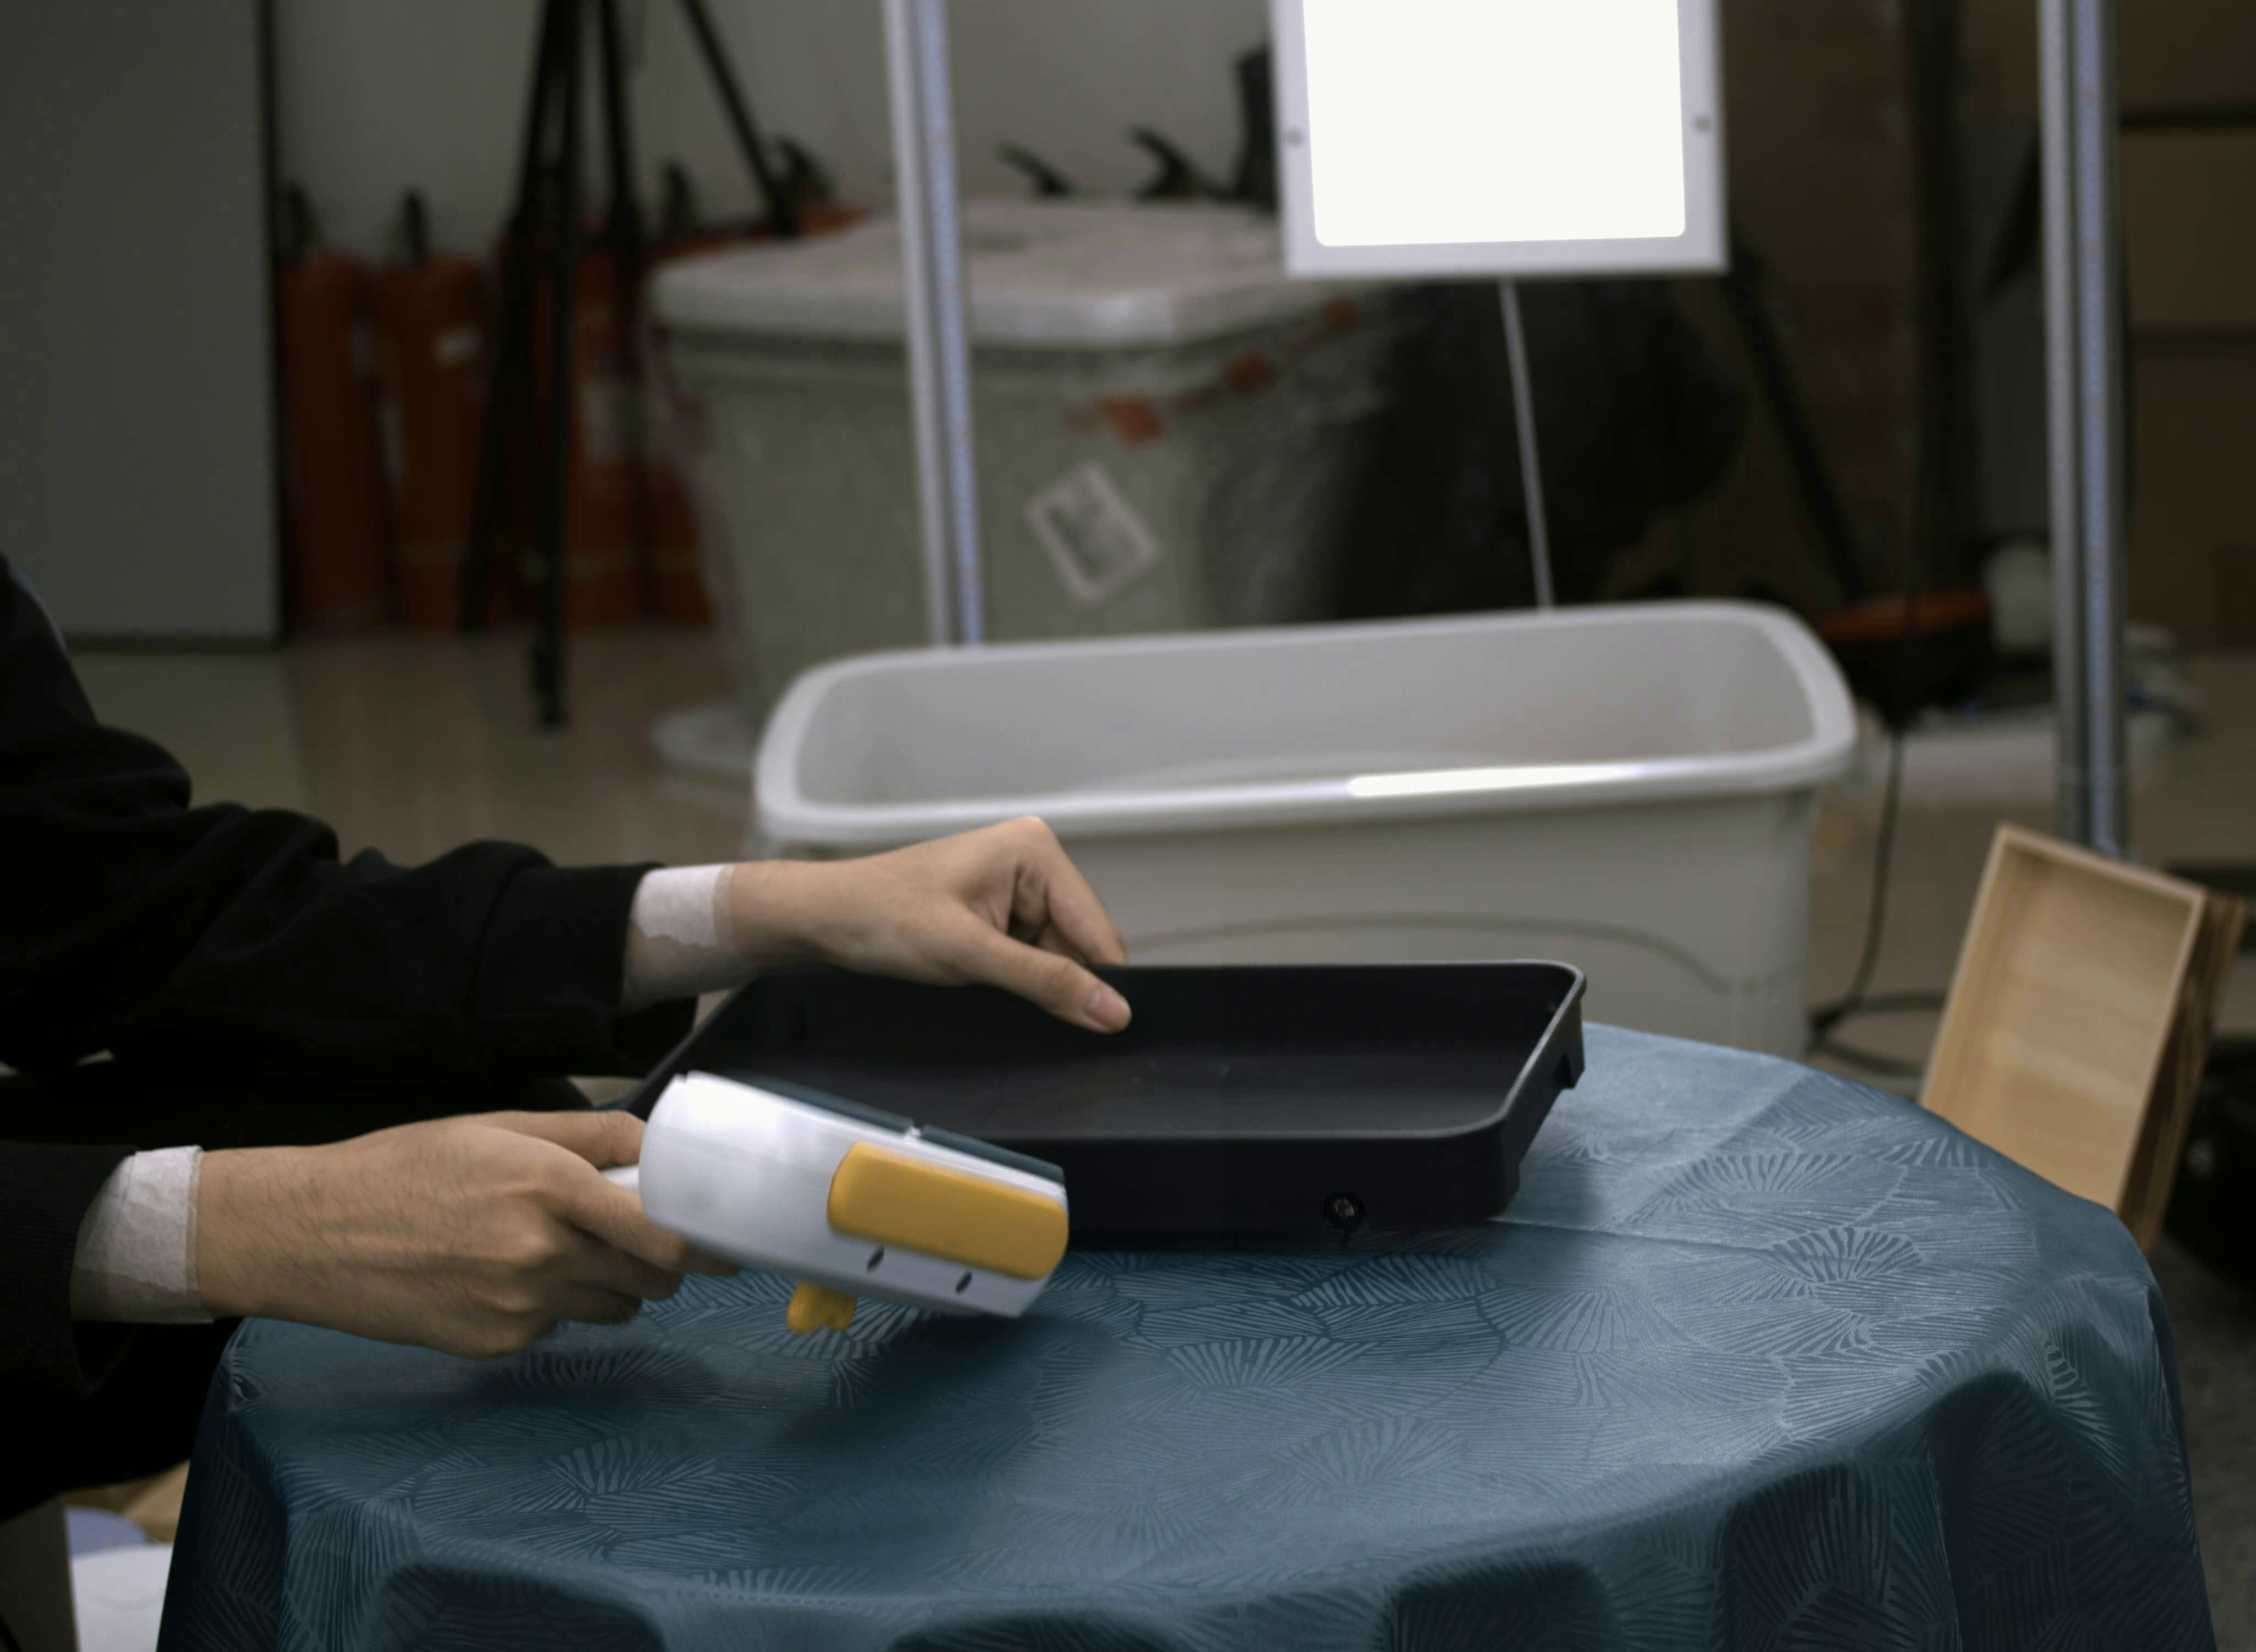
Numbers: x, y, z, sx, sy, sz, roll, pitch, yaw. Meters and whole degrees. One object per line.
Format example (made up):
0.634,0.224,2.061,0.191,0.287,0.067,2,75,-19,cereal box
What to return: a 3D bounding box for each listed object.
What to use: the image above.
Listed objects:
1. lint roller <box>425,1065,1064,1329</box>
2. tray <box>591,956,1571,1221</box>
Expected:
-0.138,0.118,1.734,0.196,0.074,0.189,3,-7,32,lint roller
-0.013,0.091,1.912,0.321,0.037,0.181,-2,15,17,tray
